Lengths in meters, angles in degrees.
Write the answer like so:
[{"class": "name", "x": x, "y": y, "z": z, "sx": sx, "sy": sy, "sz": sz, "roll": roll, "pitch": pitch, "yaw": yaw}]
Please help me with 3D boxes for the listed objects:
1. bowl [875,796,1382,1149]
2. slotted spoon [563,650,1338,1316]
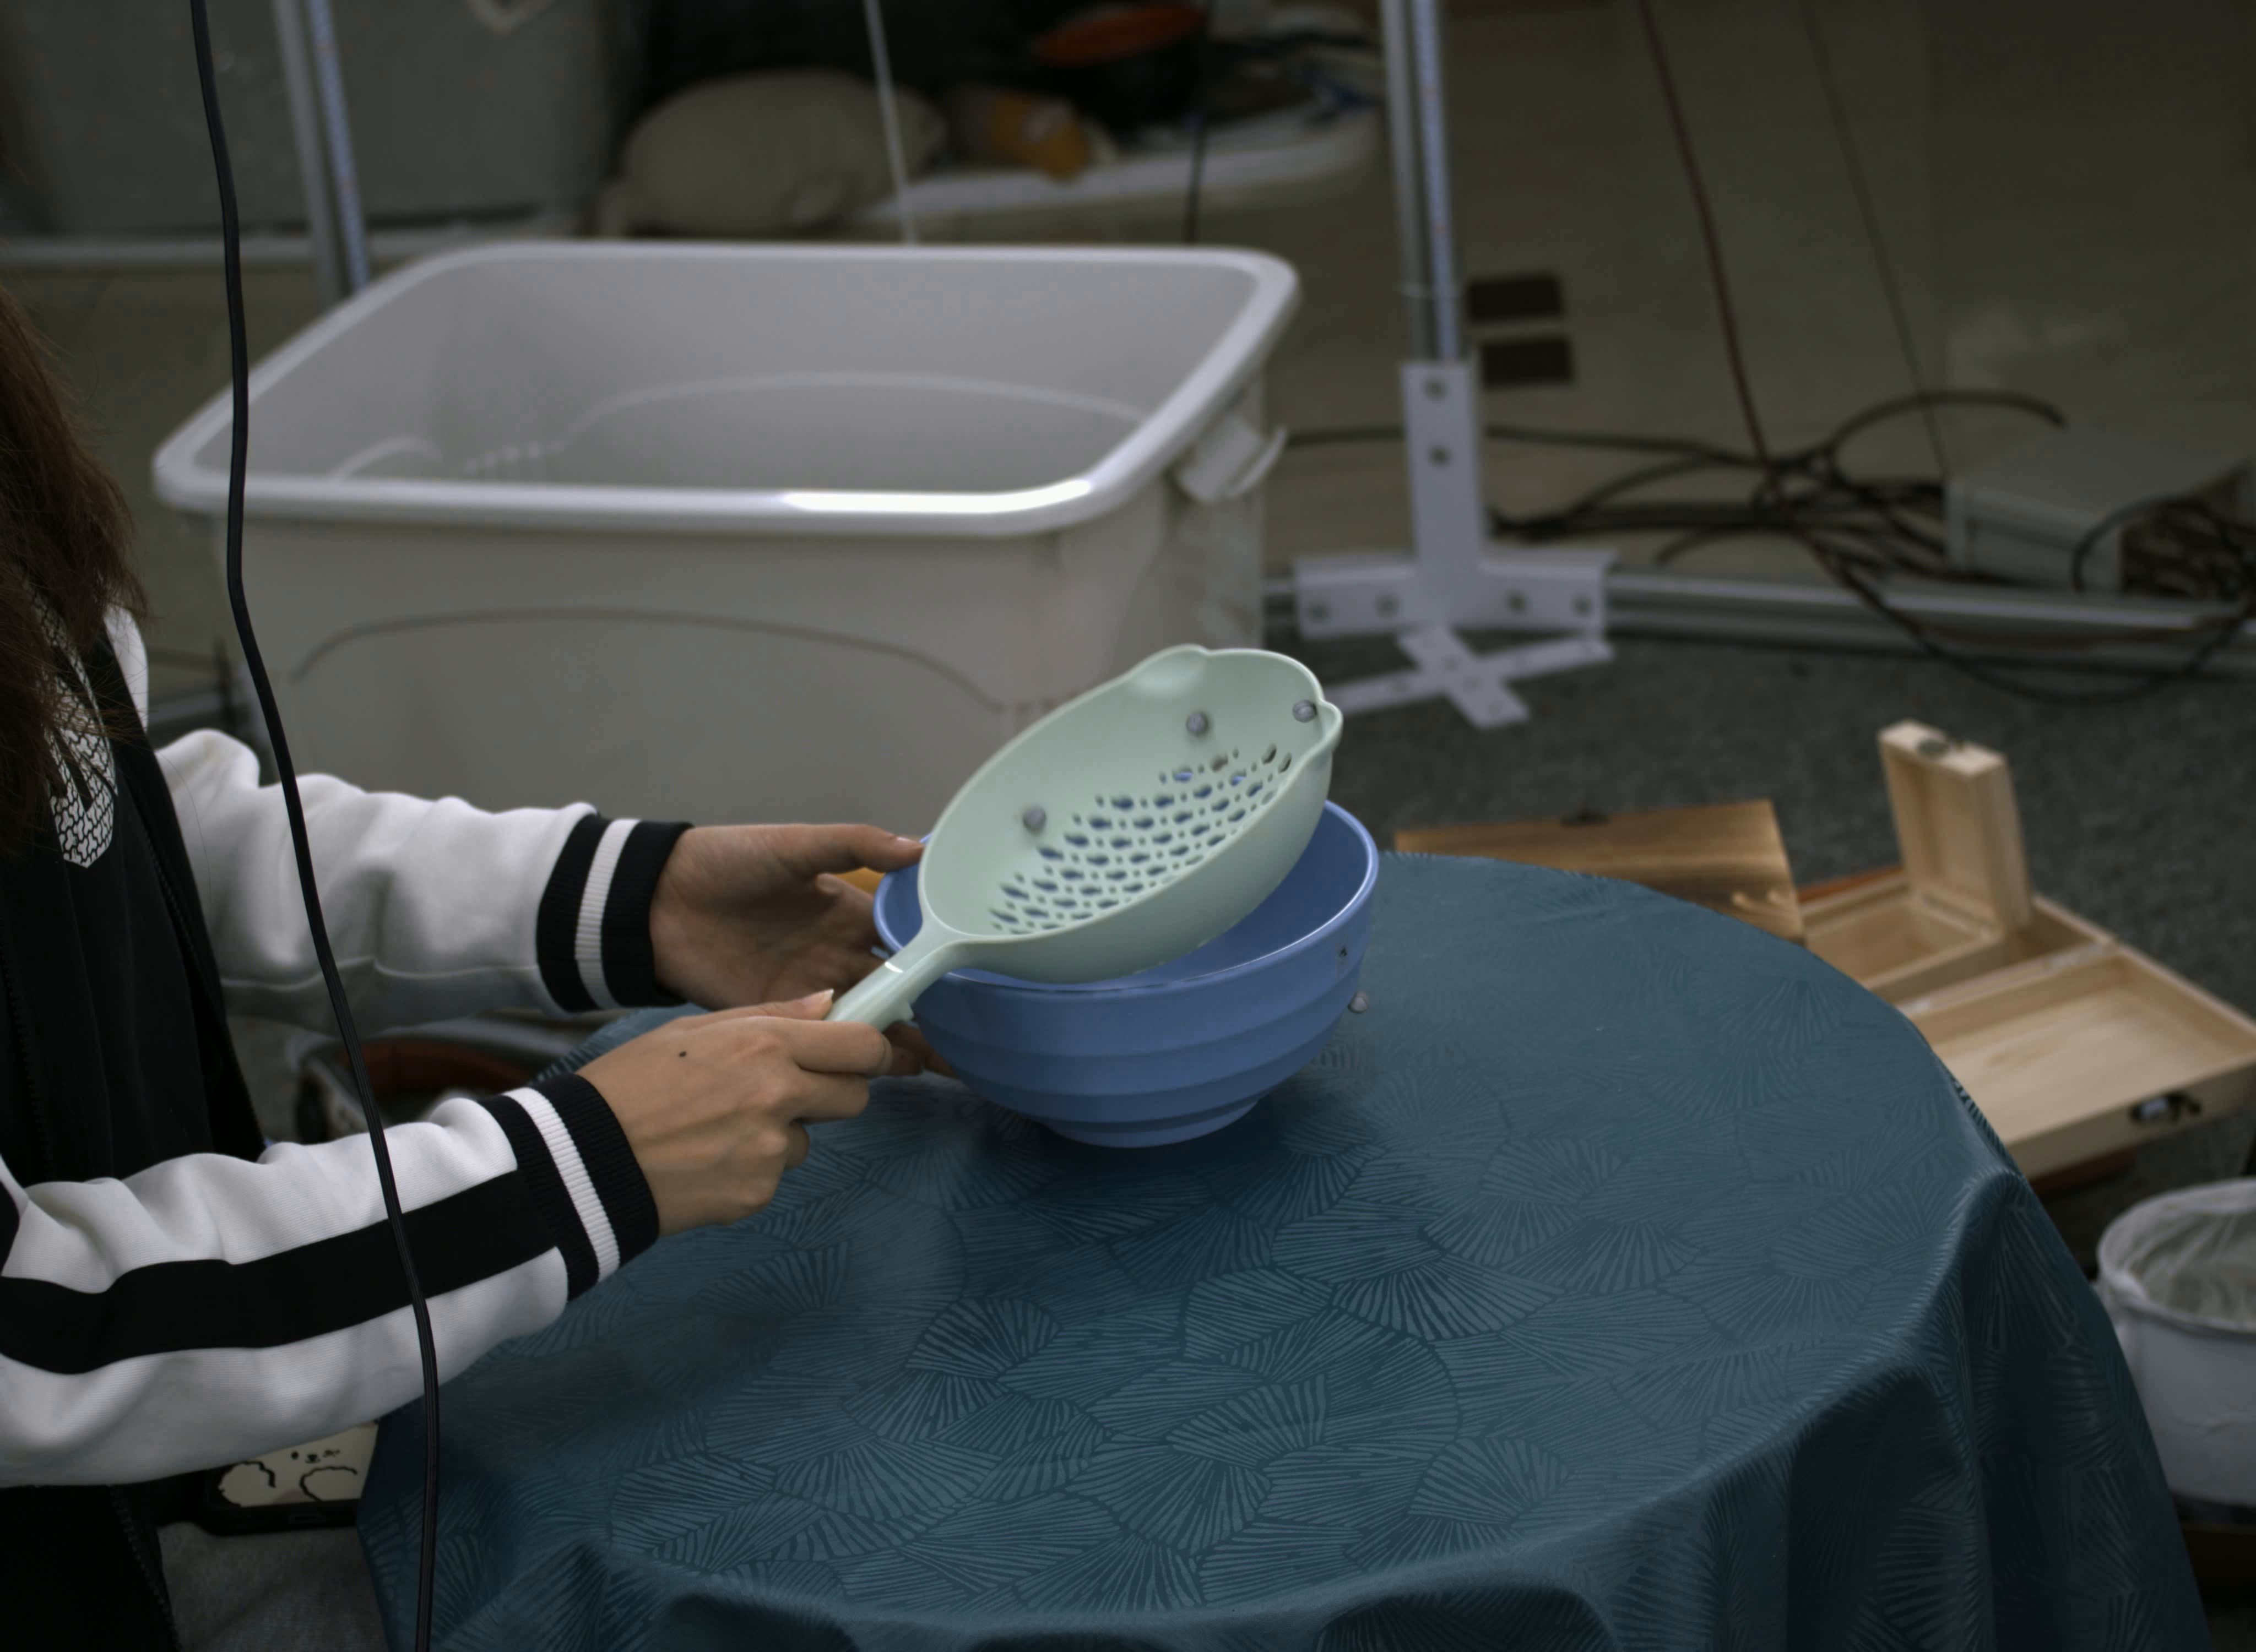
[{"class": "bowl", "x": 0.004, "y": 0.062, "z": 2.198, "sx": 0.196, "sy": 0.097, "sz": 0.193, "roll": -5, "pitch": 26, "yaw": 3}, {"class": "slotted spoon", "x": -0.071, "y": 0.057, "z": 2.095, "sx": 0.357, "sy": 0.076, "sz": 0.168, "roll": -32, "pitch": 24, "yaw": -17}]
